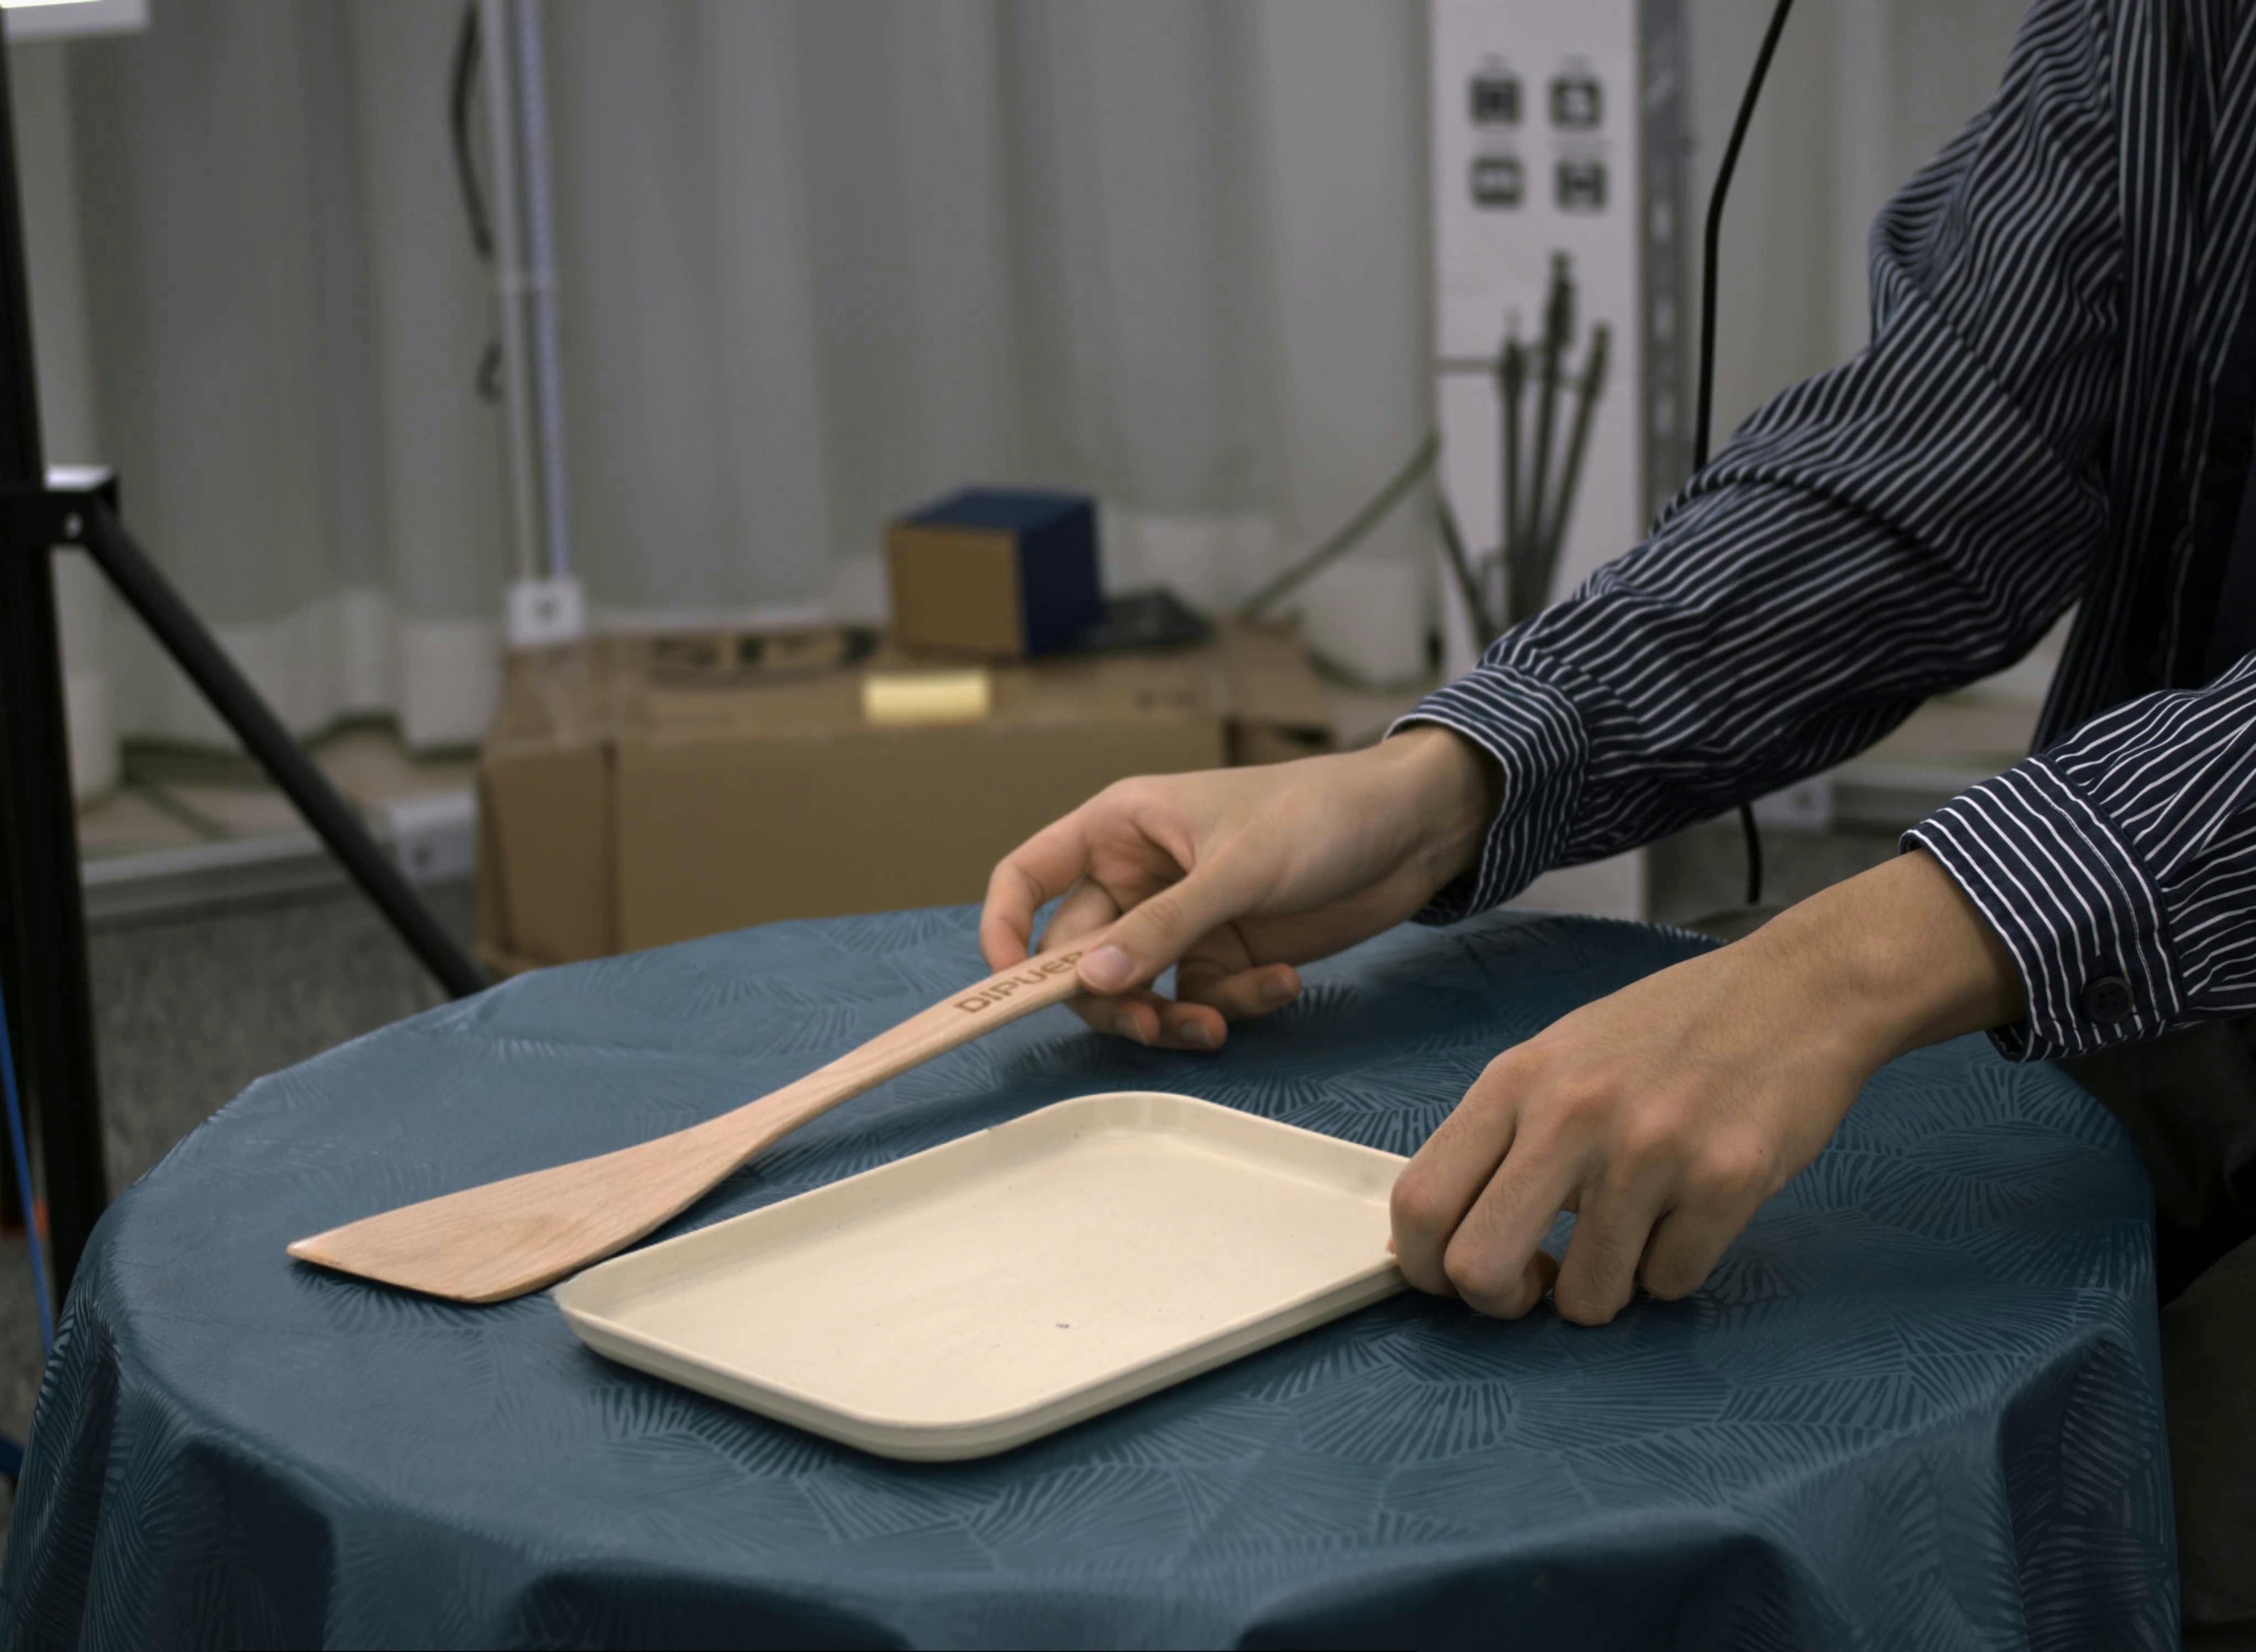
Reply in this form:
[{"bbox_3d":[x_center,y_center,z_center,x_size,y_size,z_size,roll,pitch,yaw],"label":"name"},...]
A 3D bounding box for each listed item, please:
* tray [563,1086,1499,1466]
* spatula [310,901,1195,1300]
[{"bbox_3d":[-0.024,0.124,1.480,0.234,0.017,0.175,-17,22,-41],"label":"tray"},{"bbox_3d":[-0.097,0.079,1.611,0.321,0.016,0.082,-26,28,-37],"label":"spatula"}]
